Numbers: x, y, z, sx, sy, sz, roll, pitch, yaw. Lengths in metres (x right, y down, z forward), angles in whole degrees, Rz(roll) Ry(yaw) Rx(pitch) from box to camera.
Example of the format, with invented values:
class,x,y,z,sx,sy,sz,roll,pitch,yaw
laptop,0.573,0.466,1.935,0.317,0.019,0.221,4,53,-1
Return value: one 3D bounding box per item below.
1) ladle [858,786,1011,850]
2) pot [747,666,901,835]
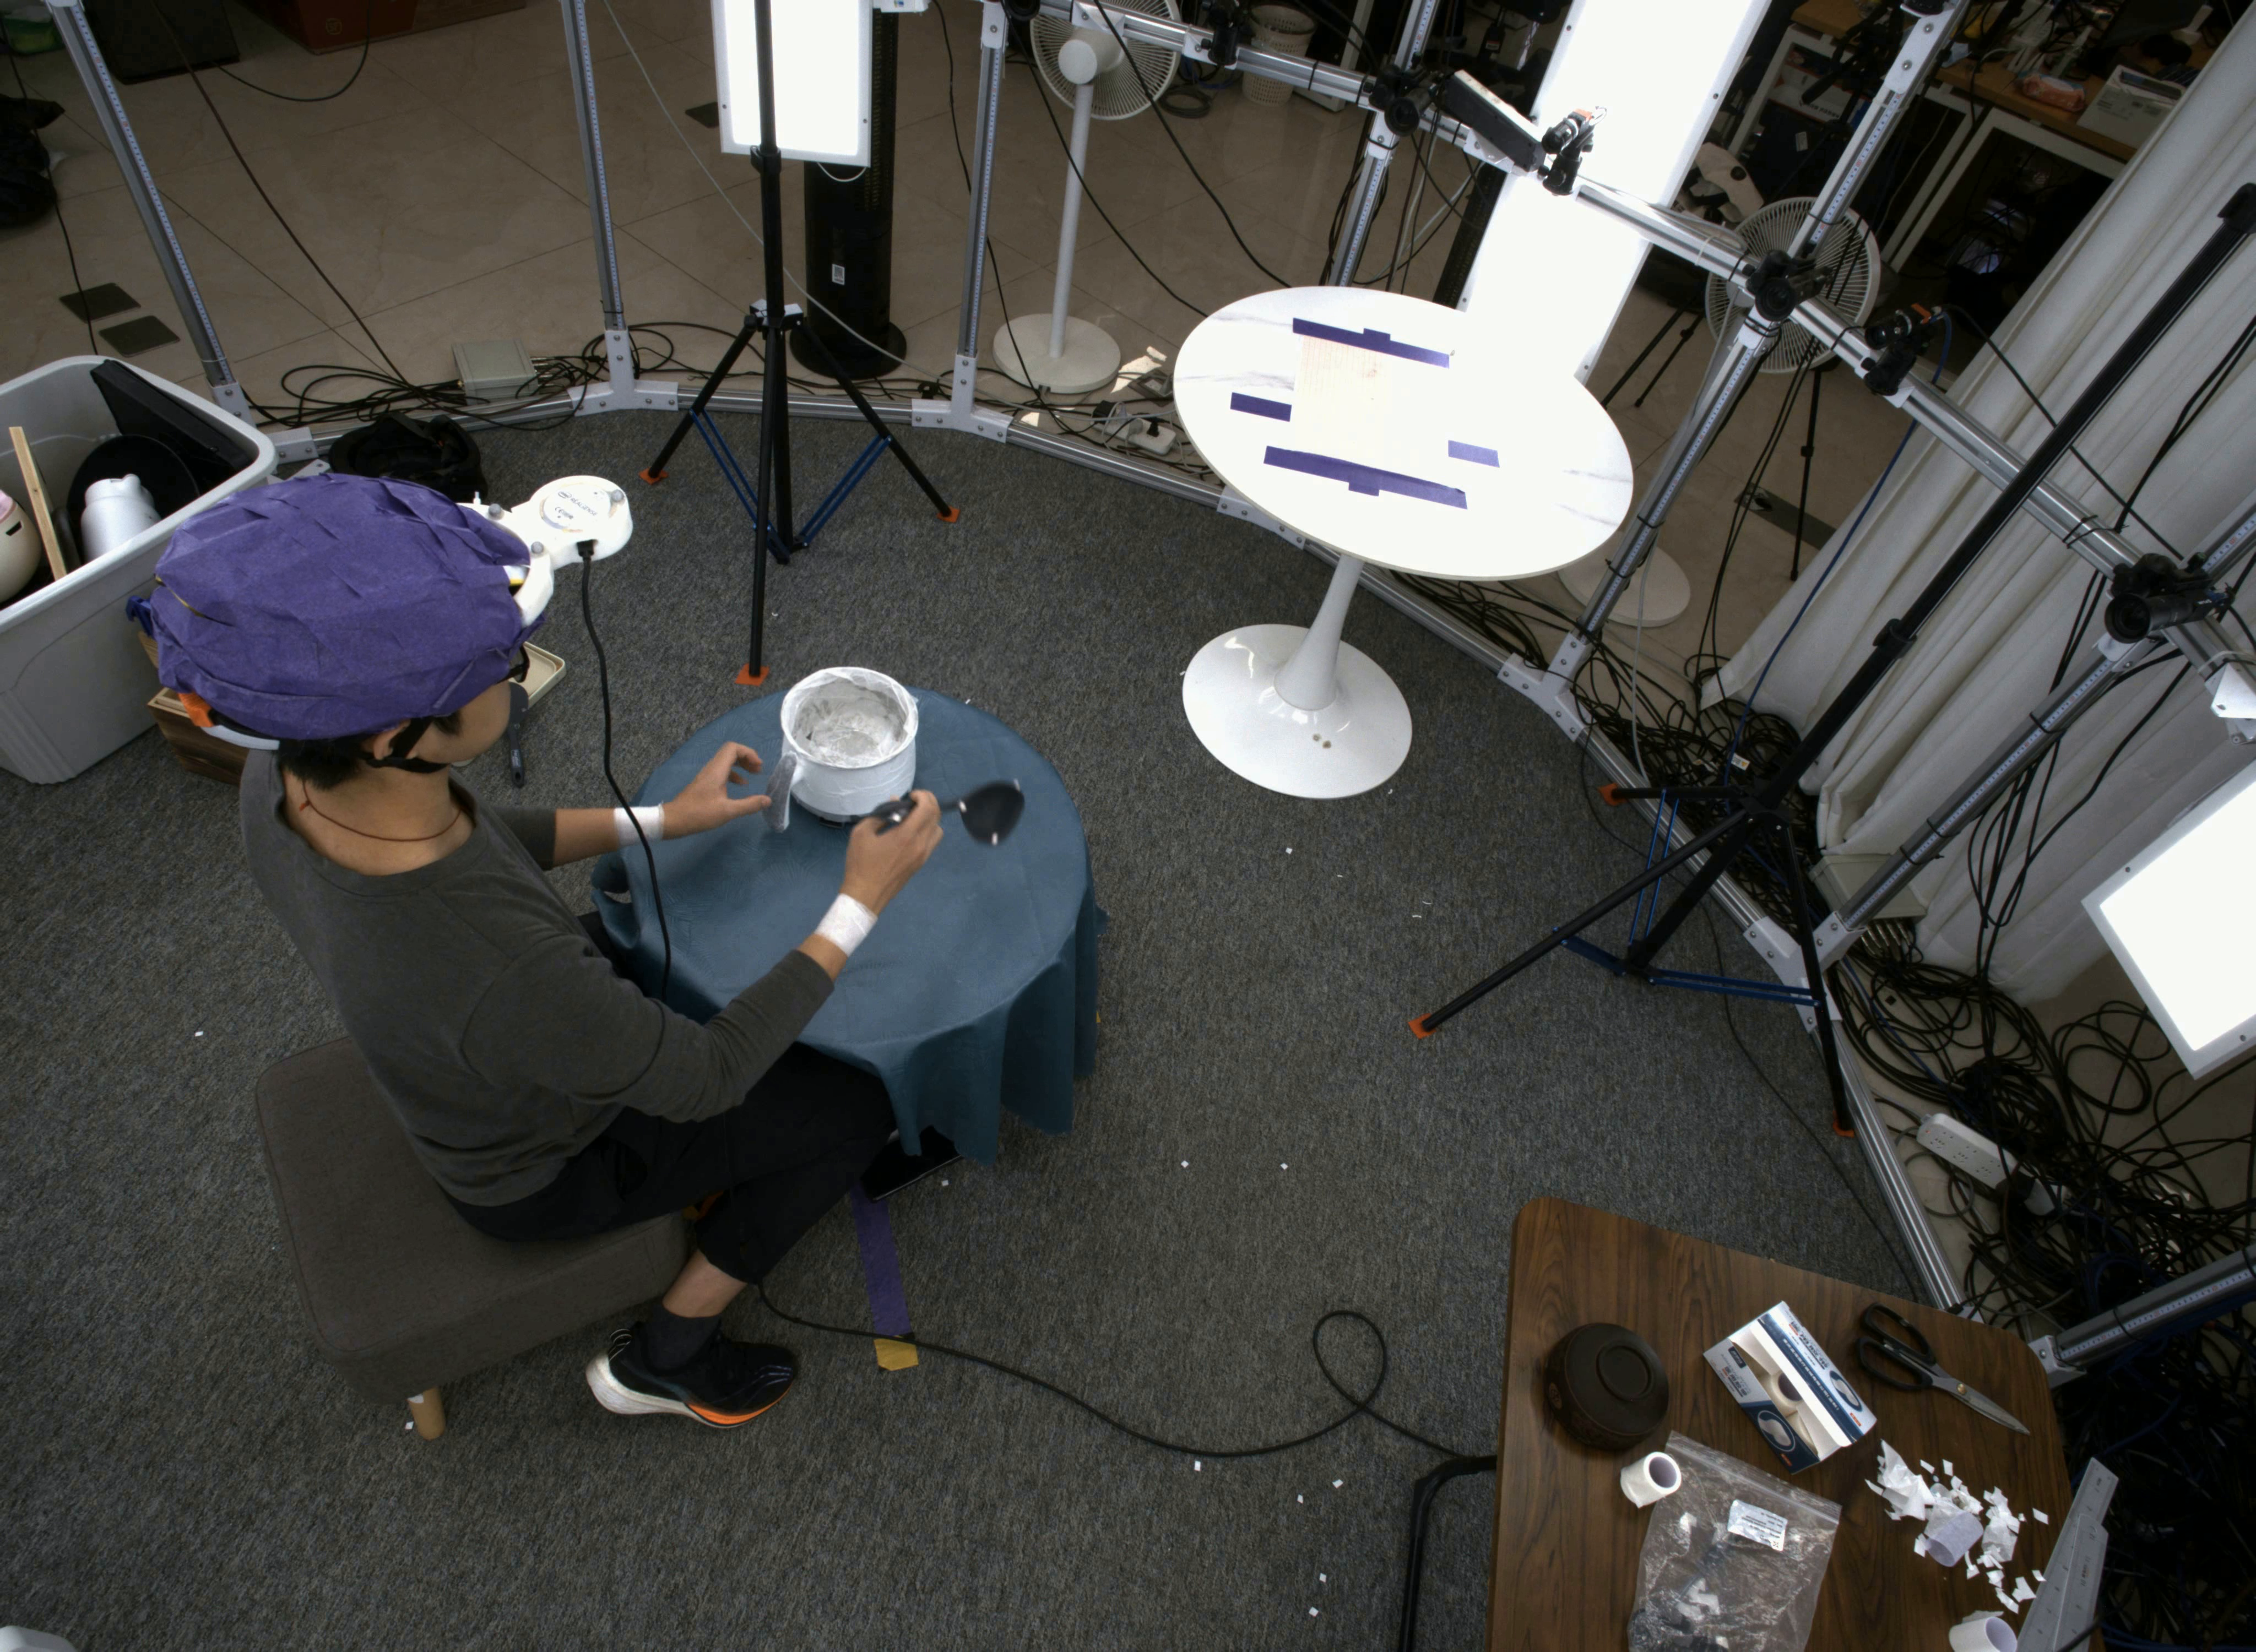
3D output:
class,x,y,z,sx,sy,sz,roll,pitch,yaw
ladle,-0.224,-0.010,1.526,0.063,0.087,0.316,26,8,12
pot,-0.409,-0.088,1.717,0.175,0.139,0.233,35,54,14
